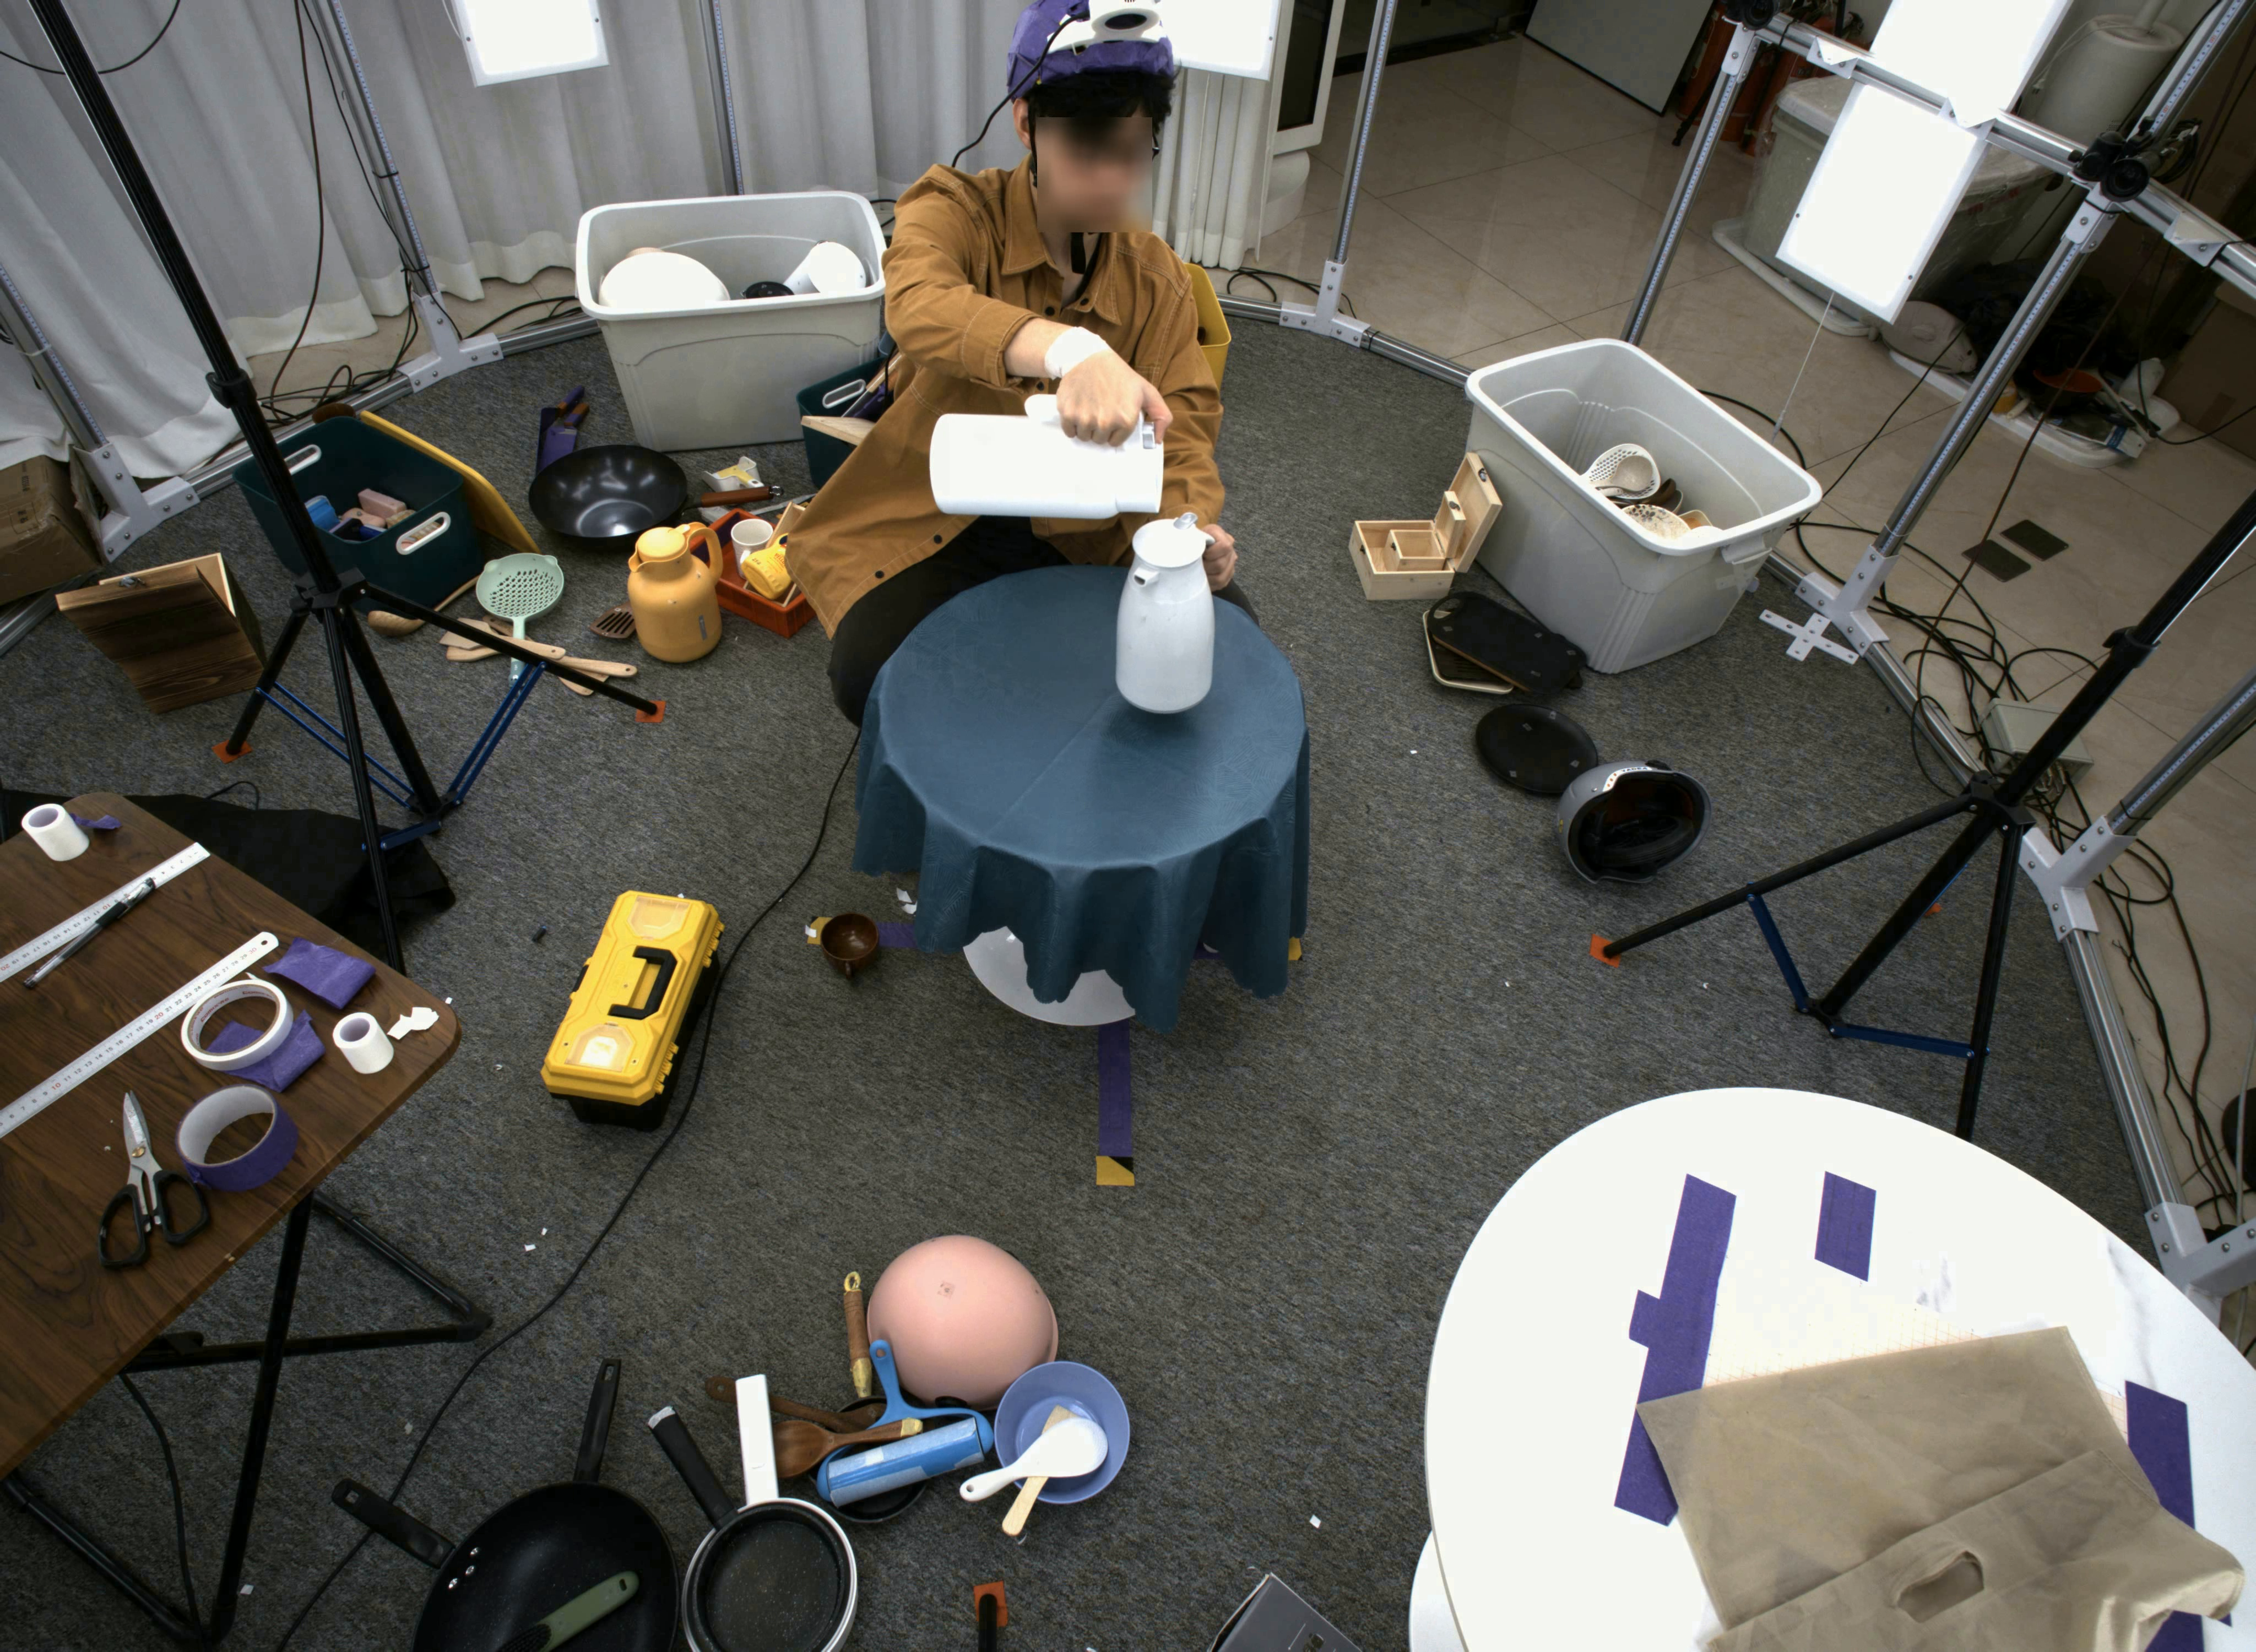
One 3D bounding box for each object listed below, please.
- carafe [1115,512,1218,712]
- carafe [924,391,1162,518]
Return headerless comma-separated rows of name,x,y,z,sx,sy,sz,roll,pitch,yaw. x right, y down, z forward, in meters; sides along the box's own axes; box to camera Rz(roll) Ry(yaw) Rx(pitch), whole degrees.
carafe,0.060,-0.293,1.685,0.134,0.242,0.170,30,56,22
carafe,-0.097,-0.430,1.501,0.269,0.169,0.126,5,64,9
